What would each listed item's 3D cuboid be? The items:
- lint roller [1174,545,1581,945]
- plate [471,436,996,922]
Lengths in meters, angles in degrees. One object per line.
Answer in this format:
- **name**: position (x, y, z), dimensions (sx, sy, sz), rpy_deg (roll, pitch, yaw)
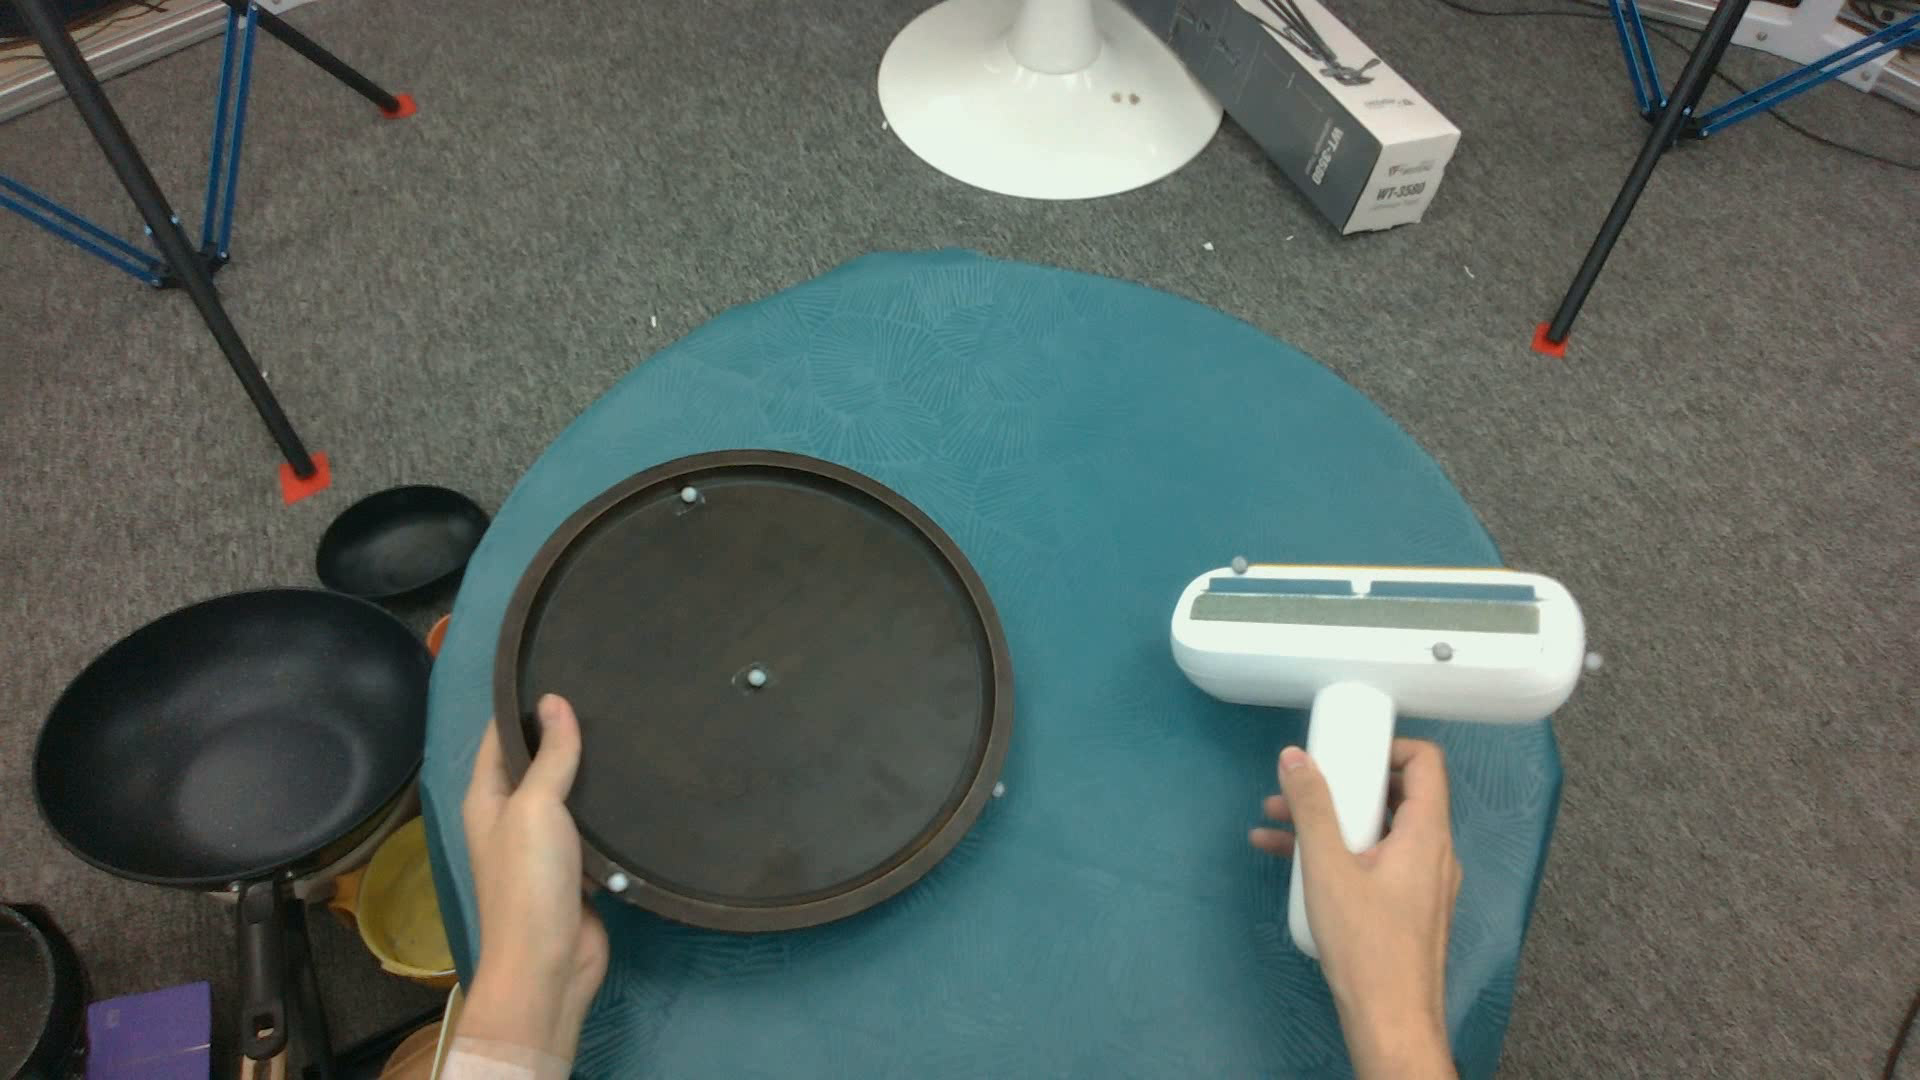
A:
- **lint roller**: position (0.178, 0.092, 0.647), dimensions (0.192, 0.074, 0.193), rpy_deg (7, 57, 31)
- **plate**: position (-0.106, 0.061, 0.677), dimensions (0.255, 0.029, 0.256), rpy_deg (7, 62, -12)
